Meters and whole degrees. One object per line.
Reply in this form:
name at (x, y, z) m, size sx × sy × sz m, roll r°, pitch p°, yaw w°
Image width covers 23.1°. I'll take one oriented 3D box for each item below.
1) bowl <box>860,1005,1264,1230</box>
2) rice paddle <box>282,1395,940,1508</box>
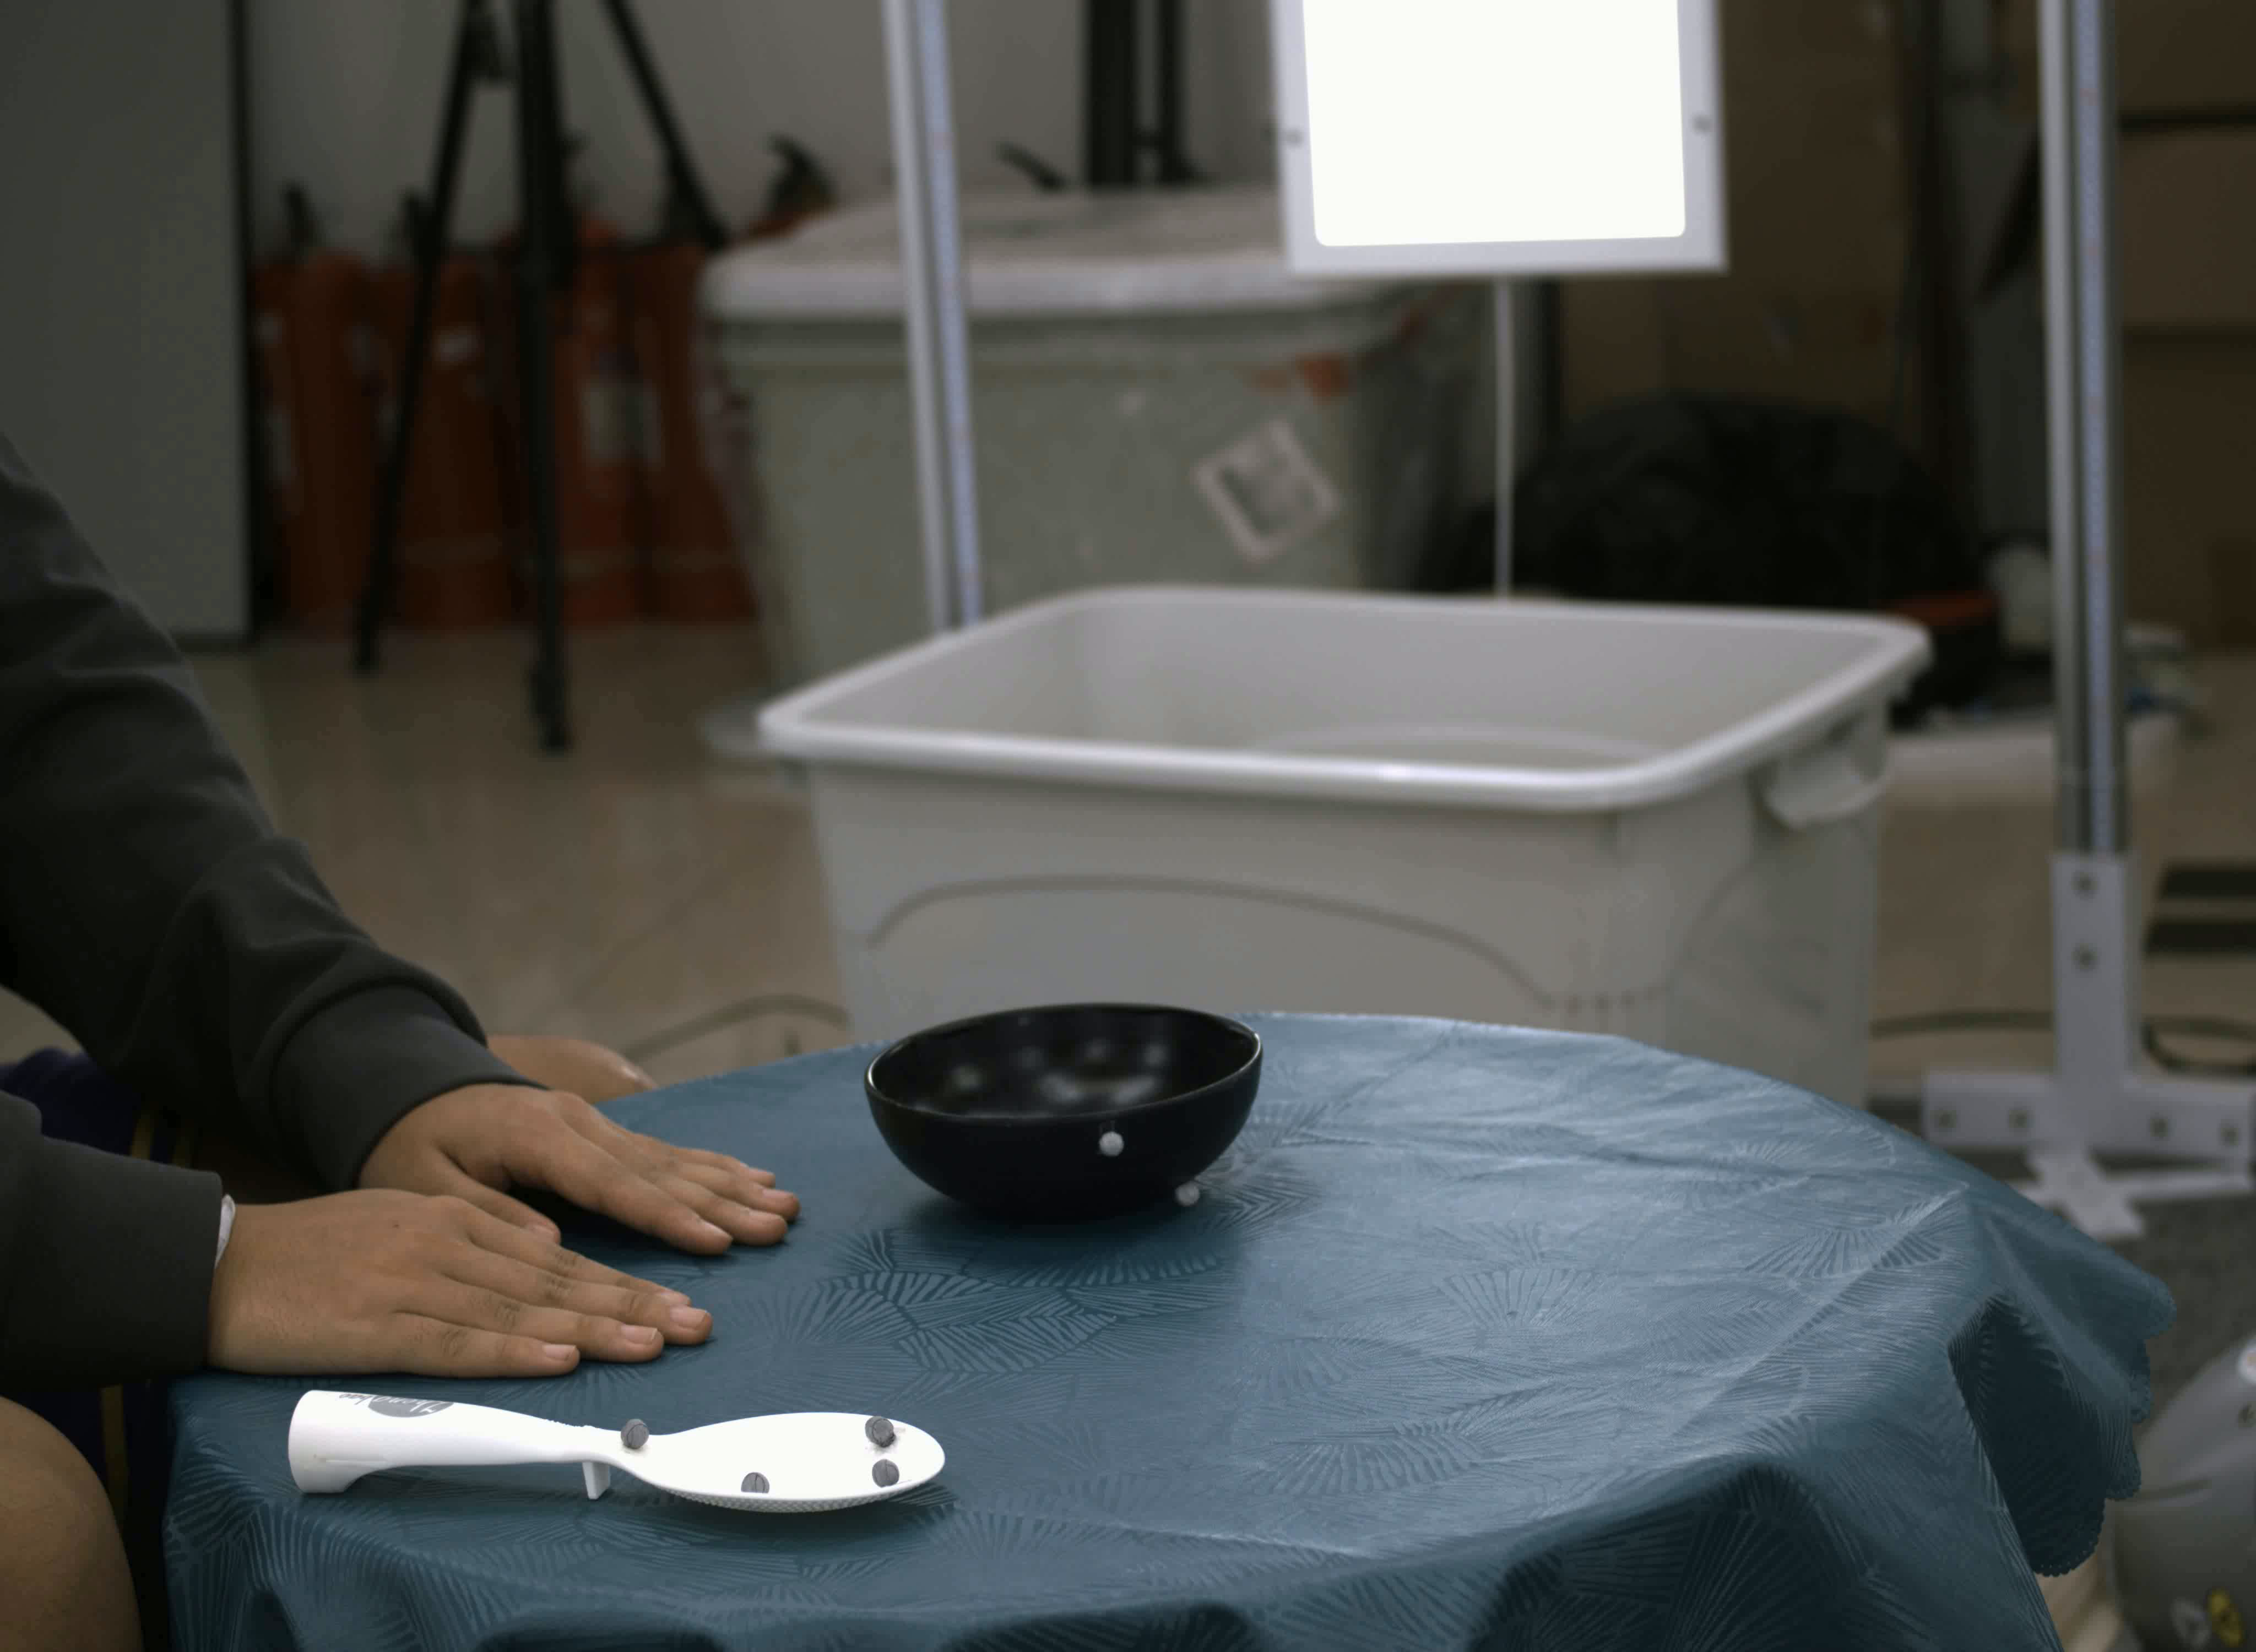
bowl at (-0.021, 0.104, 1.898) m, size 0.140 × 0.050 × 0.140 m, roll -7°, pitch 14°, yaw 0°
rice paddle at (-0.154, 0.186, 1.650) m, size 0.208 × 0.029 × 0.067 m, roll -1°, pitch 16°, yaw 19°
